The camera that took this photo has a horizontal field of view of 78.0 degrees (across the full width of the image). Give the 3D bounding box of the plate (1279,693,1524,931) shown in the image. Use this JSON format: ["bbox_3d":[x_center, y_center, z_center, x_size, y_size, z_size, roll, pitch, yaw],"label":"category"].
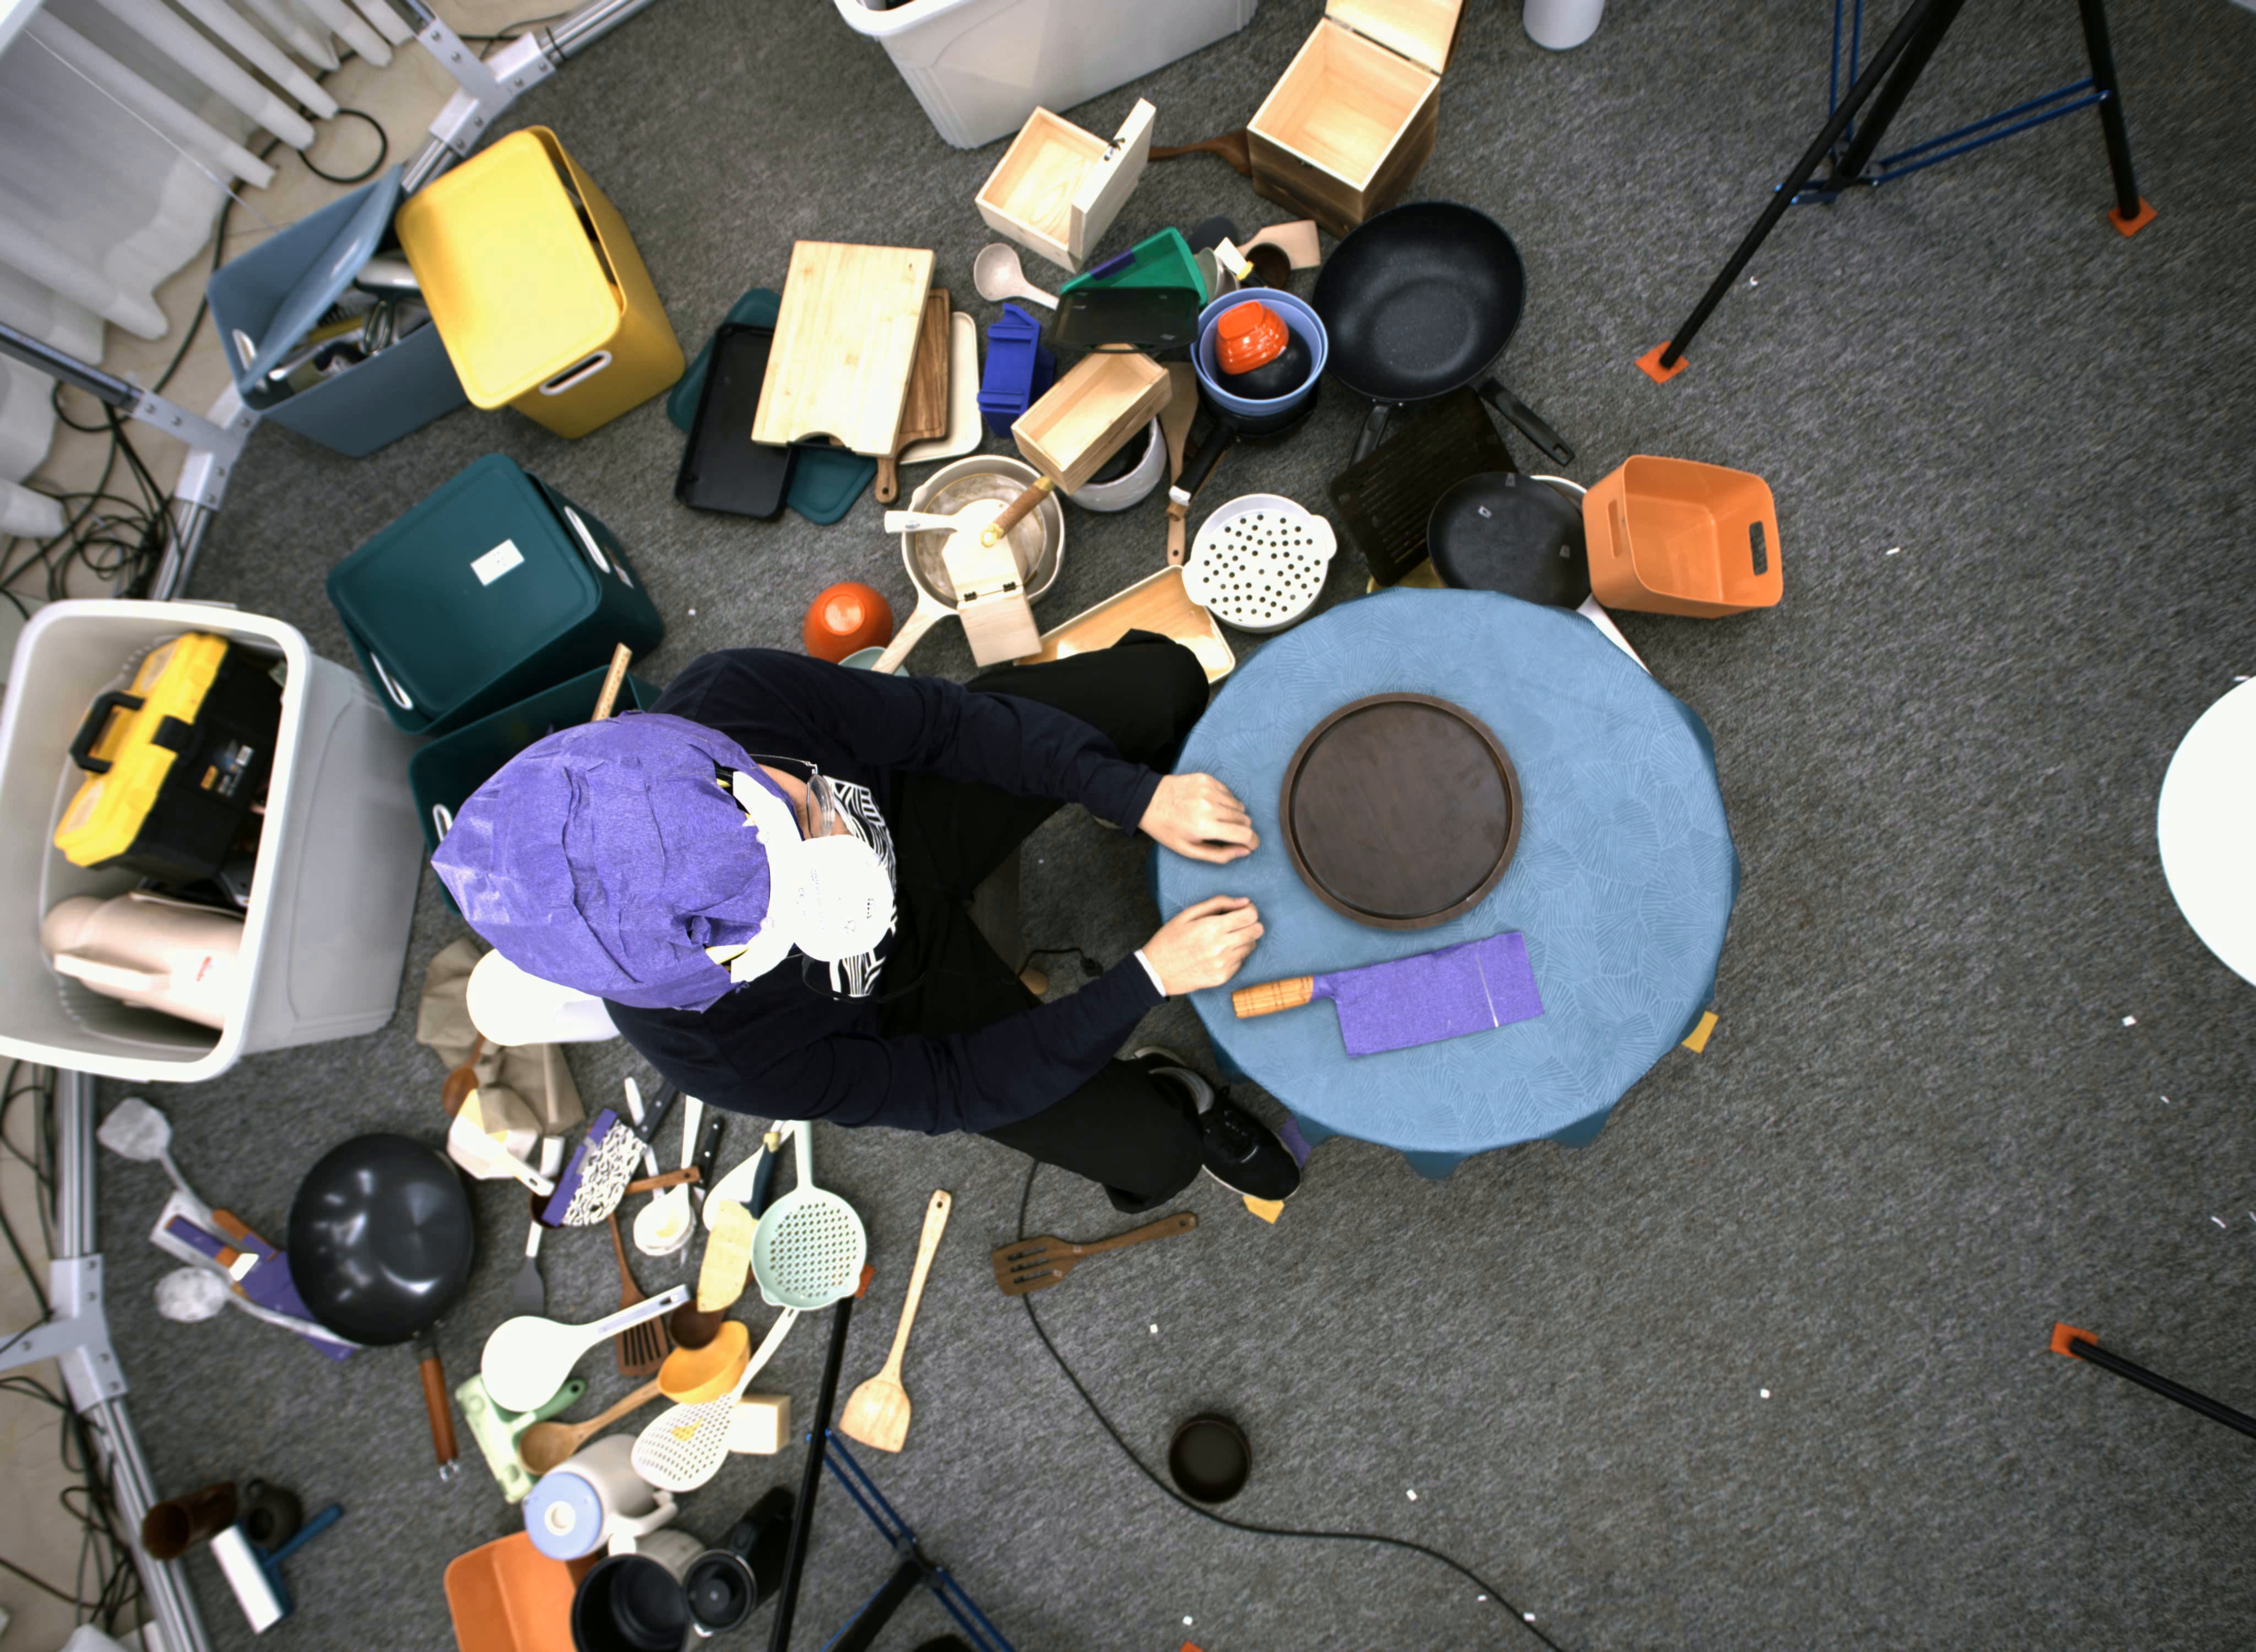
[{"bbox_3d":[0.286,-0.017,1.450,0.256,0.029,0.254,-1,87,10],"label":"plate"}]

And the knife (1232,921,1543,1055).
[{"bbox_3d":[0.270,0.183,1.440,0.317,0.032,0.103,-15,84,9],"label":"knife"}]
